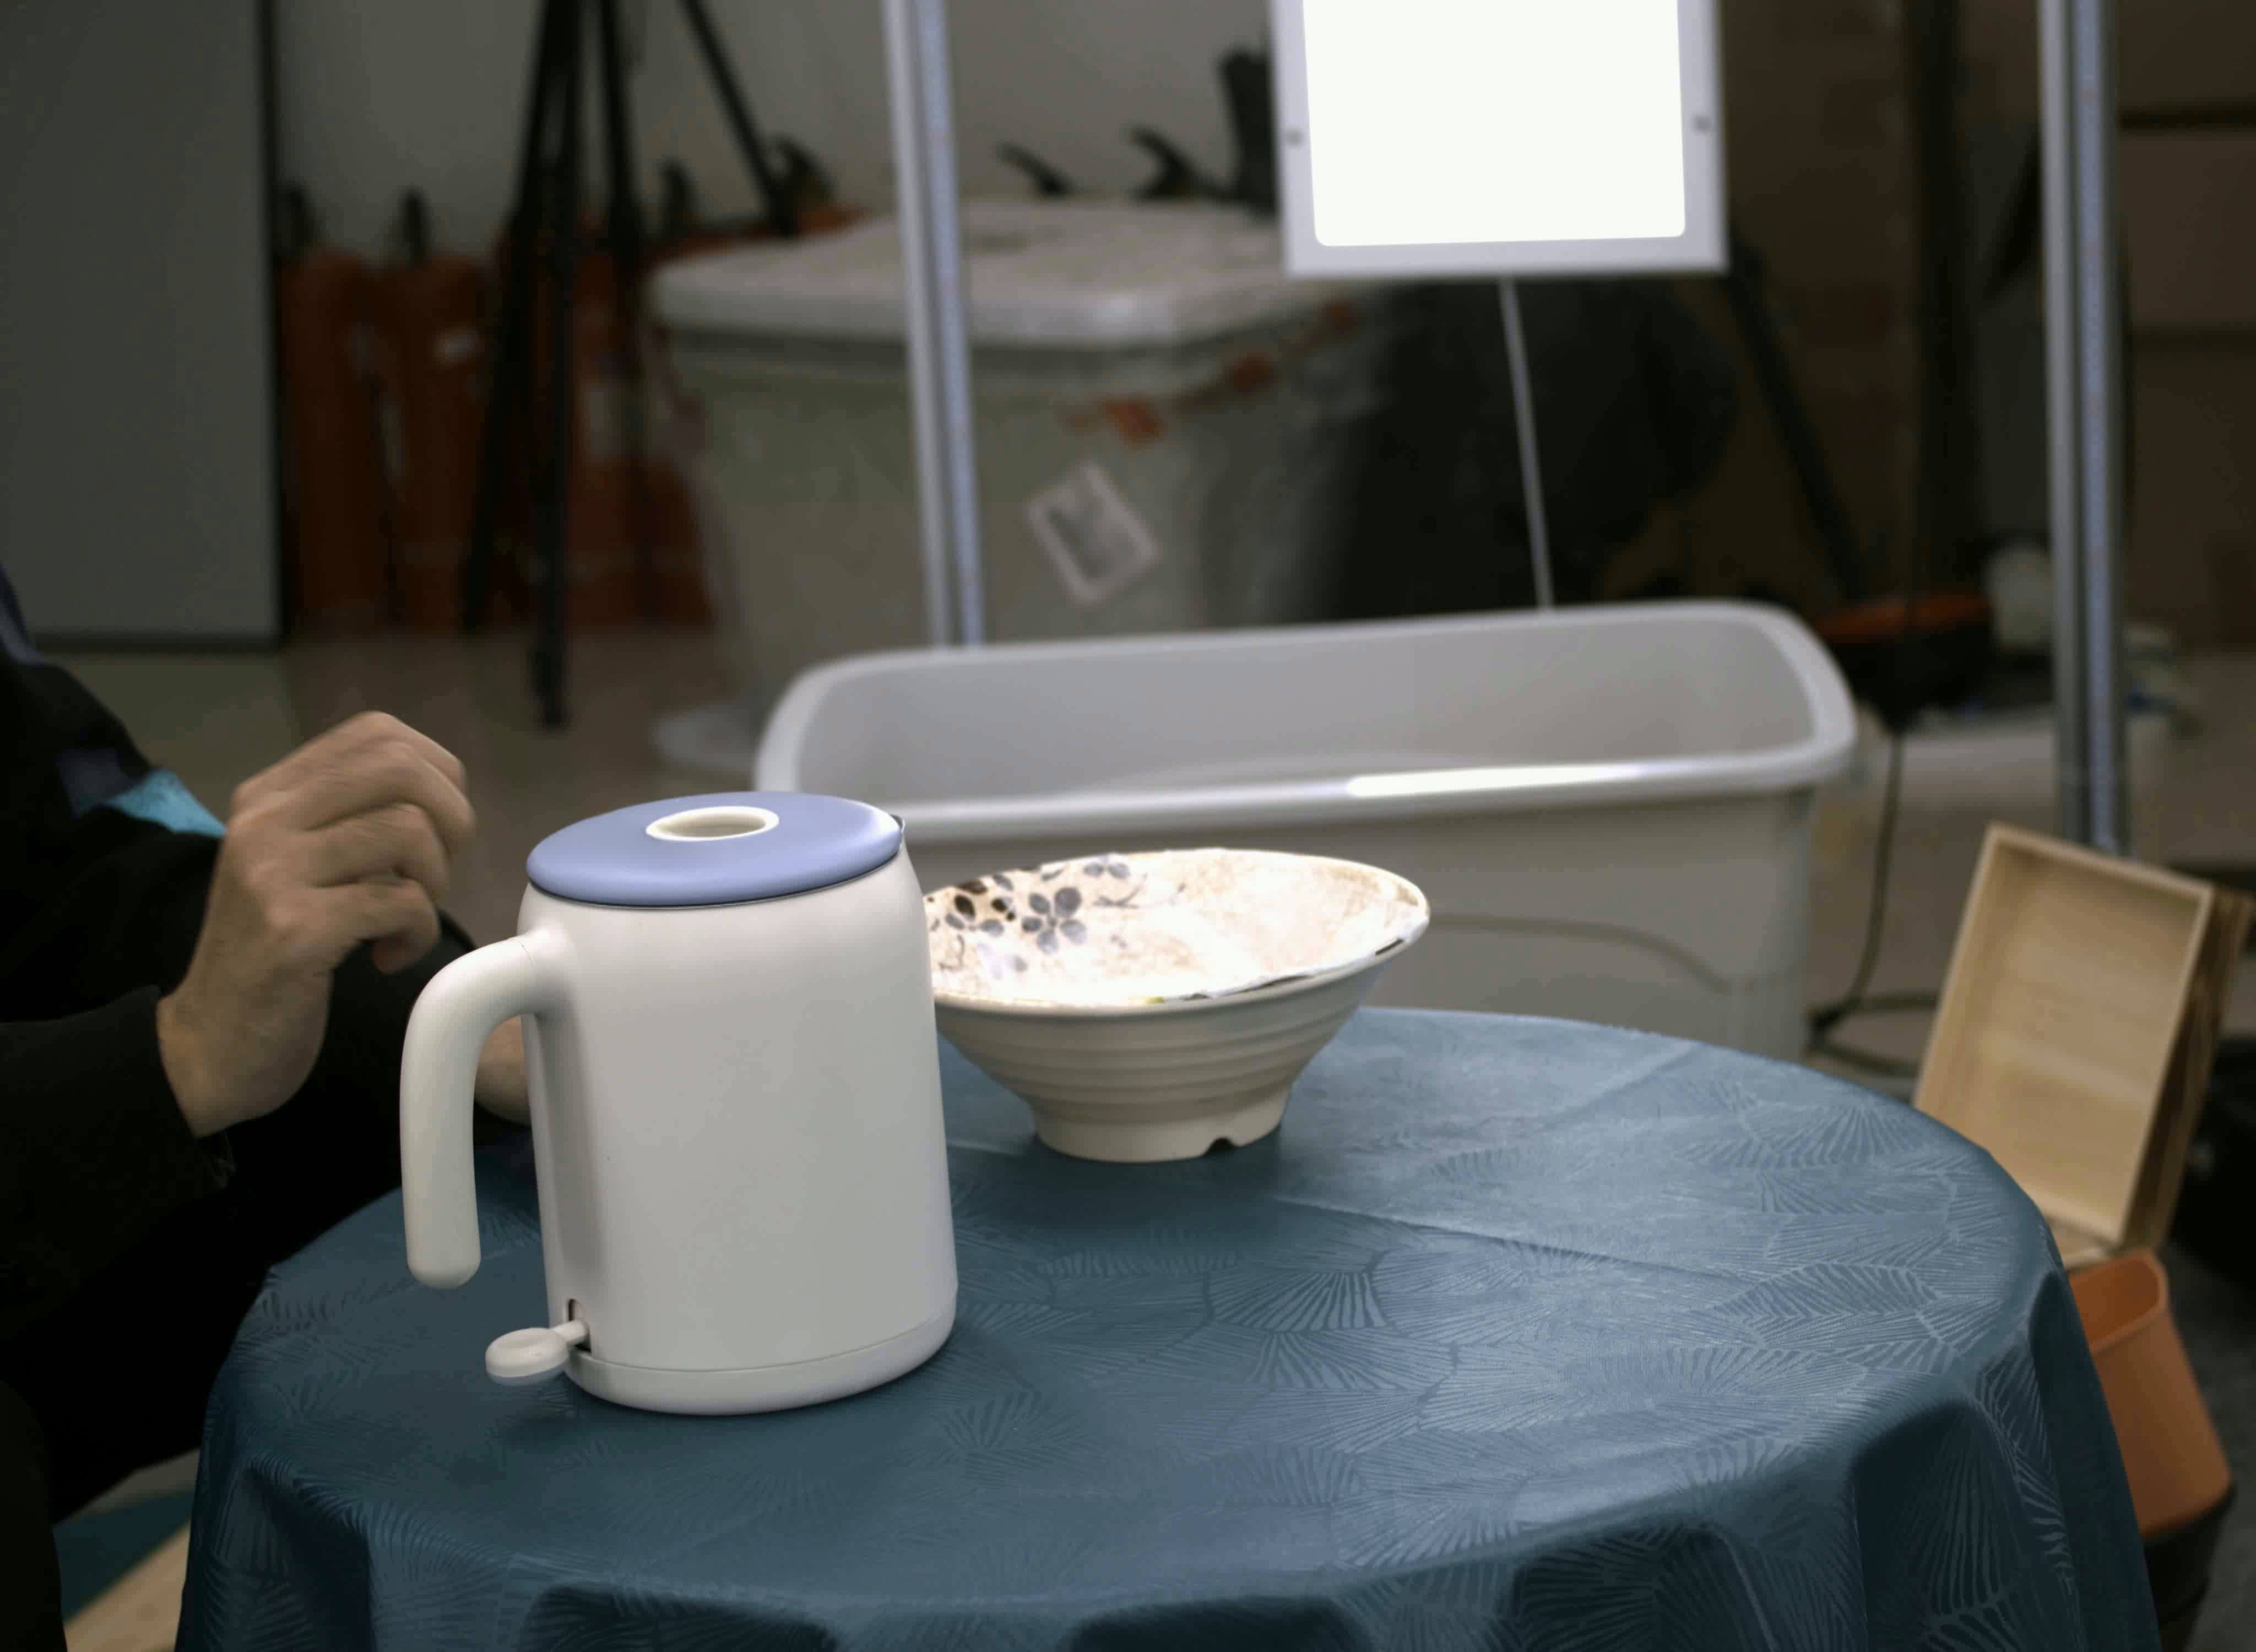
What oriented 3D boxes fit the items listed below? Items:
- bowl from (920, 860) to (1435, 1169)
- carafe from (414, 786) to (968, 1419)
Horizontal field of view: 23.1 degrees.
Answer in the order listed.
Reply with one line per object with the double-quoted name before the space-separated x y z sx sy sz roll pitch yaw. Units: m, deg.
"bowl" 0.012 0.072 1.954 0.203 0.078 0.204 -7 12 0
"carafe" -0.142 0.092 1.732 0.186 0.183 0.135 -17 17 -33
